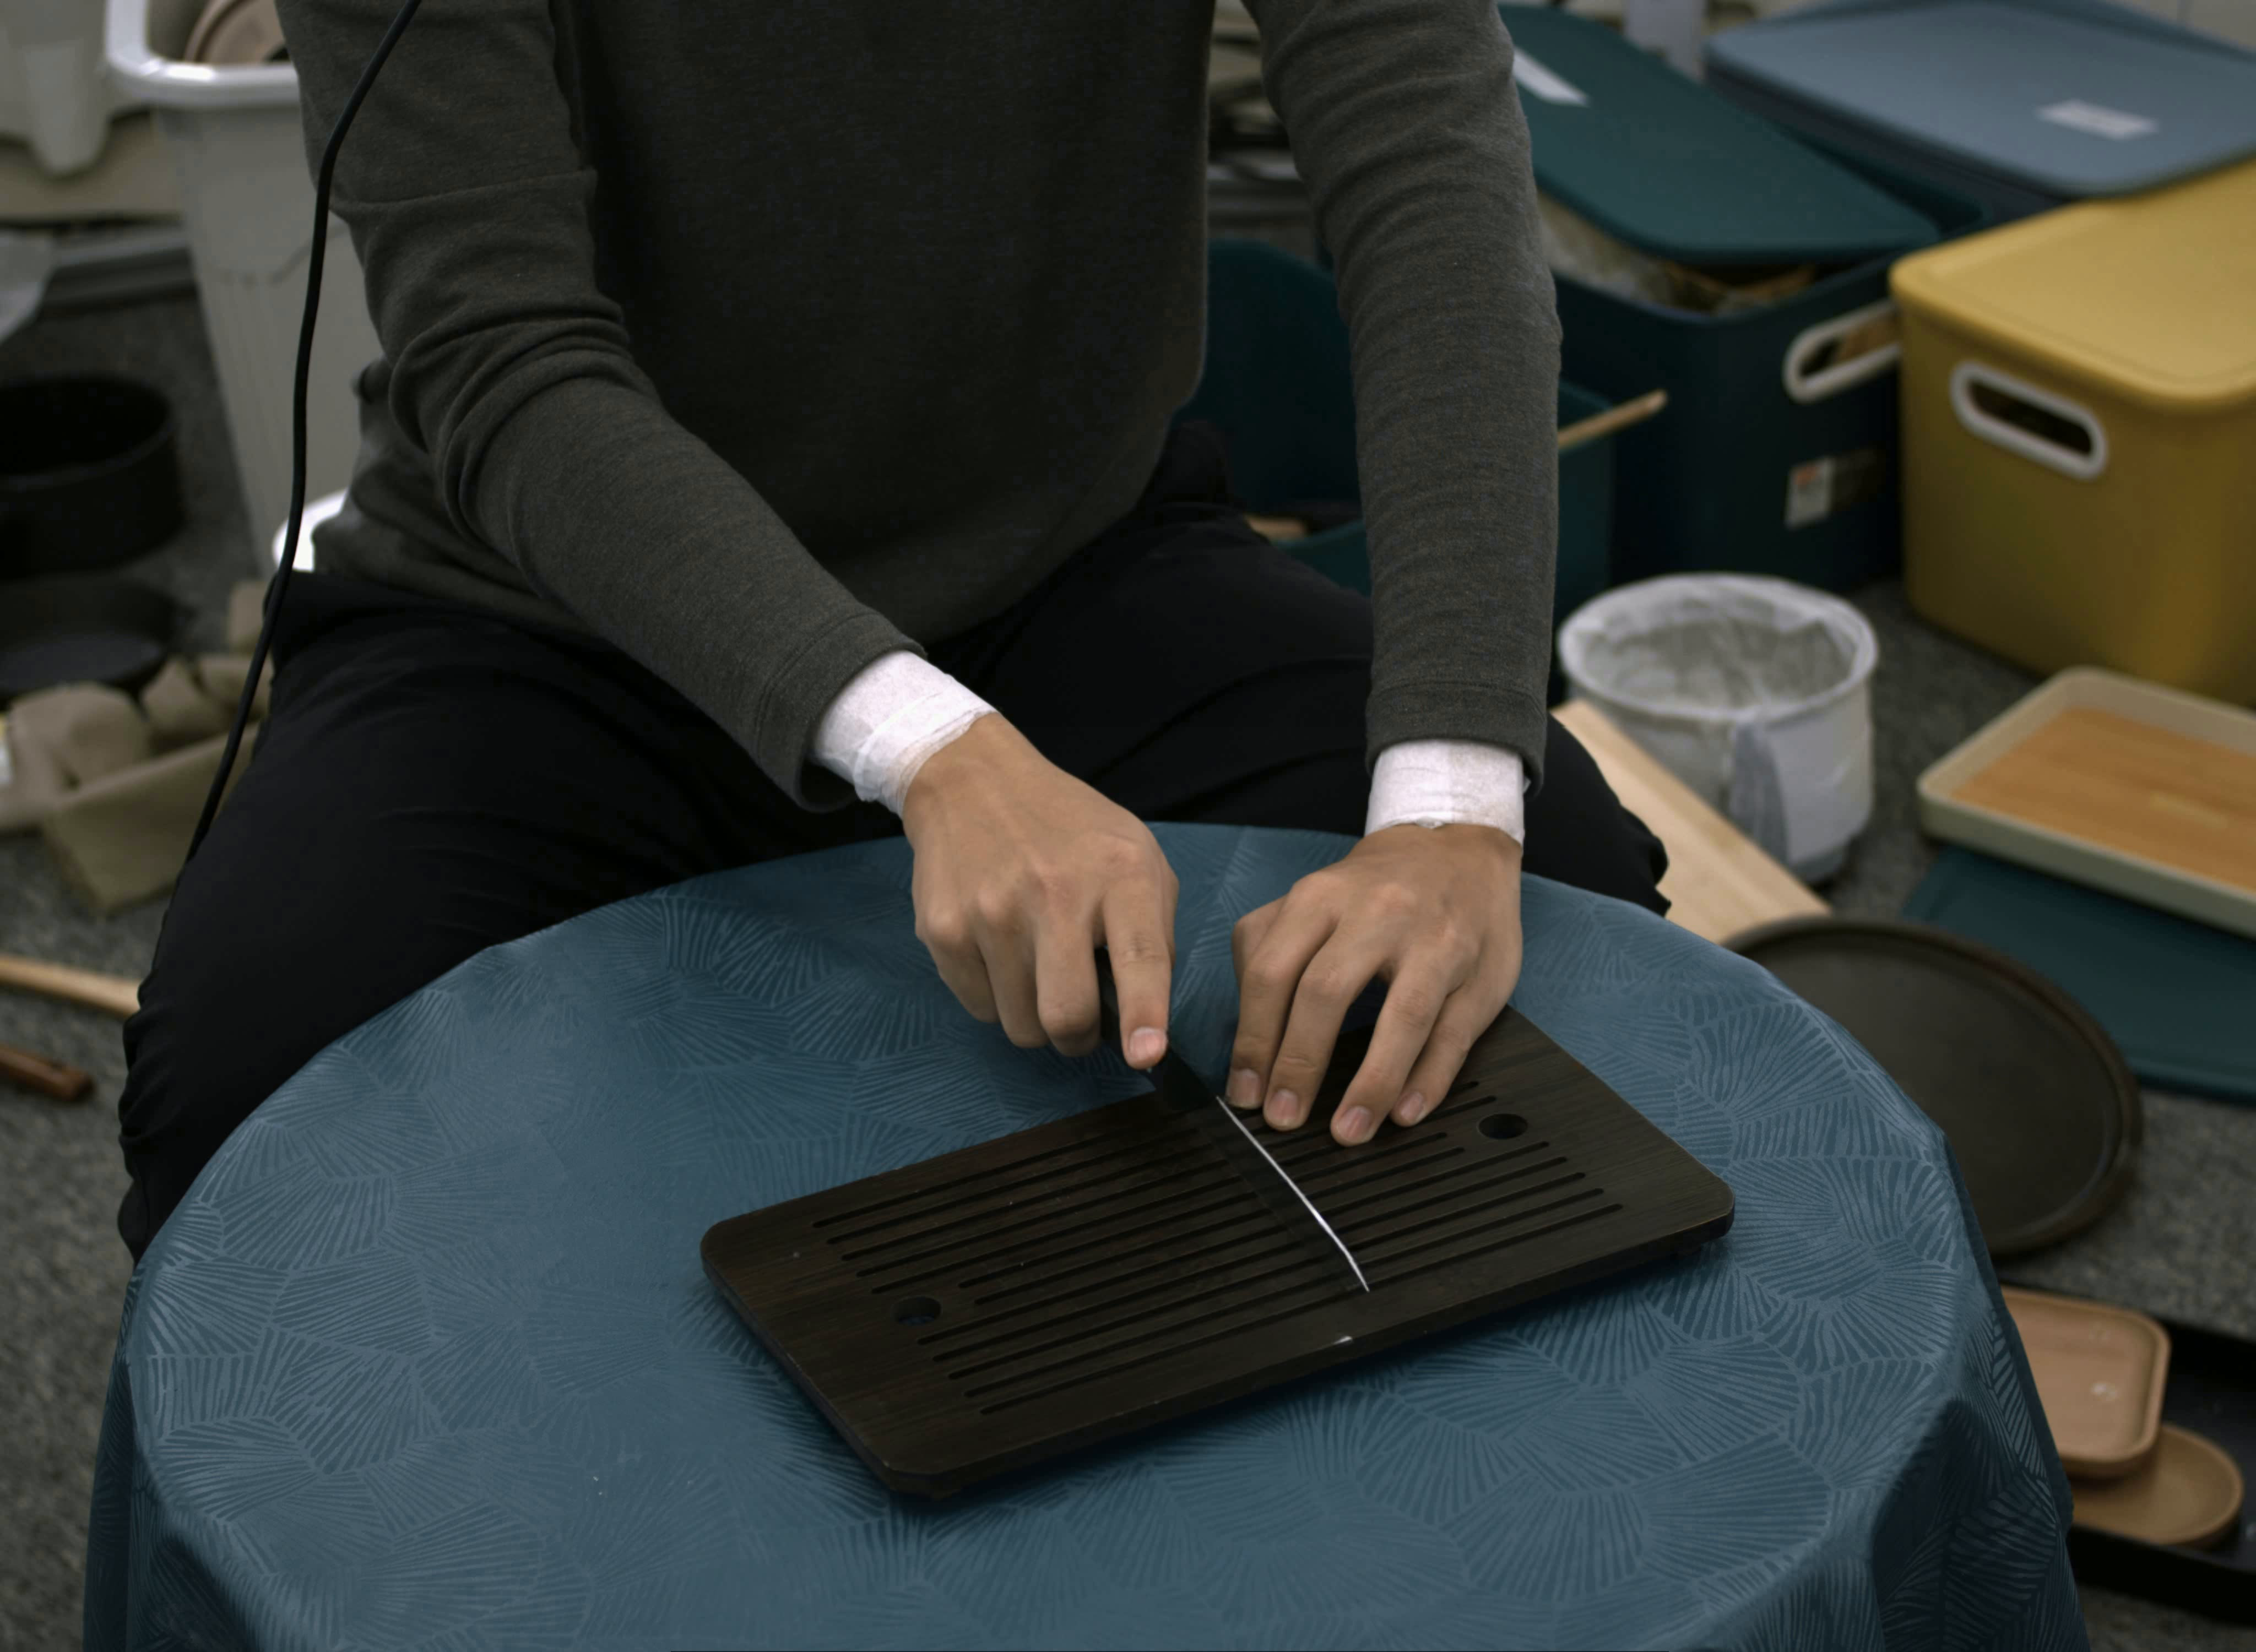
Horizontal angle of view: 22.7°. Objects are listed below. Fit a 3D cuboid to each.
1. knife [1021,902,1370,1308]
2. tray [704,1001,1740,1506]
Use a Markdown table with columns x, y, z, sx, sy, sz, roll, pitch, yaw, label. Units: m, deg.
| x | y | z | sx | sy | sz | roll | pitch | yaw | label |
| --- | --- | --- | --- | --- | --- | --- | --- | --- | --- |
| 0.022 | 0.088 | 1.847 | 0.016 | 0.024 | 0.240 | -9 | 34 | -26 | knife |
| 0.030 | 0.135 | 1.813 | 0.307 | 0.018 | 0.171 | -15 | 29 | -23 | tray |
